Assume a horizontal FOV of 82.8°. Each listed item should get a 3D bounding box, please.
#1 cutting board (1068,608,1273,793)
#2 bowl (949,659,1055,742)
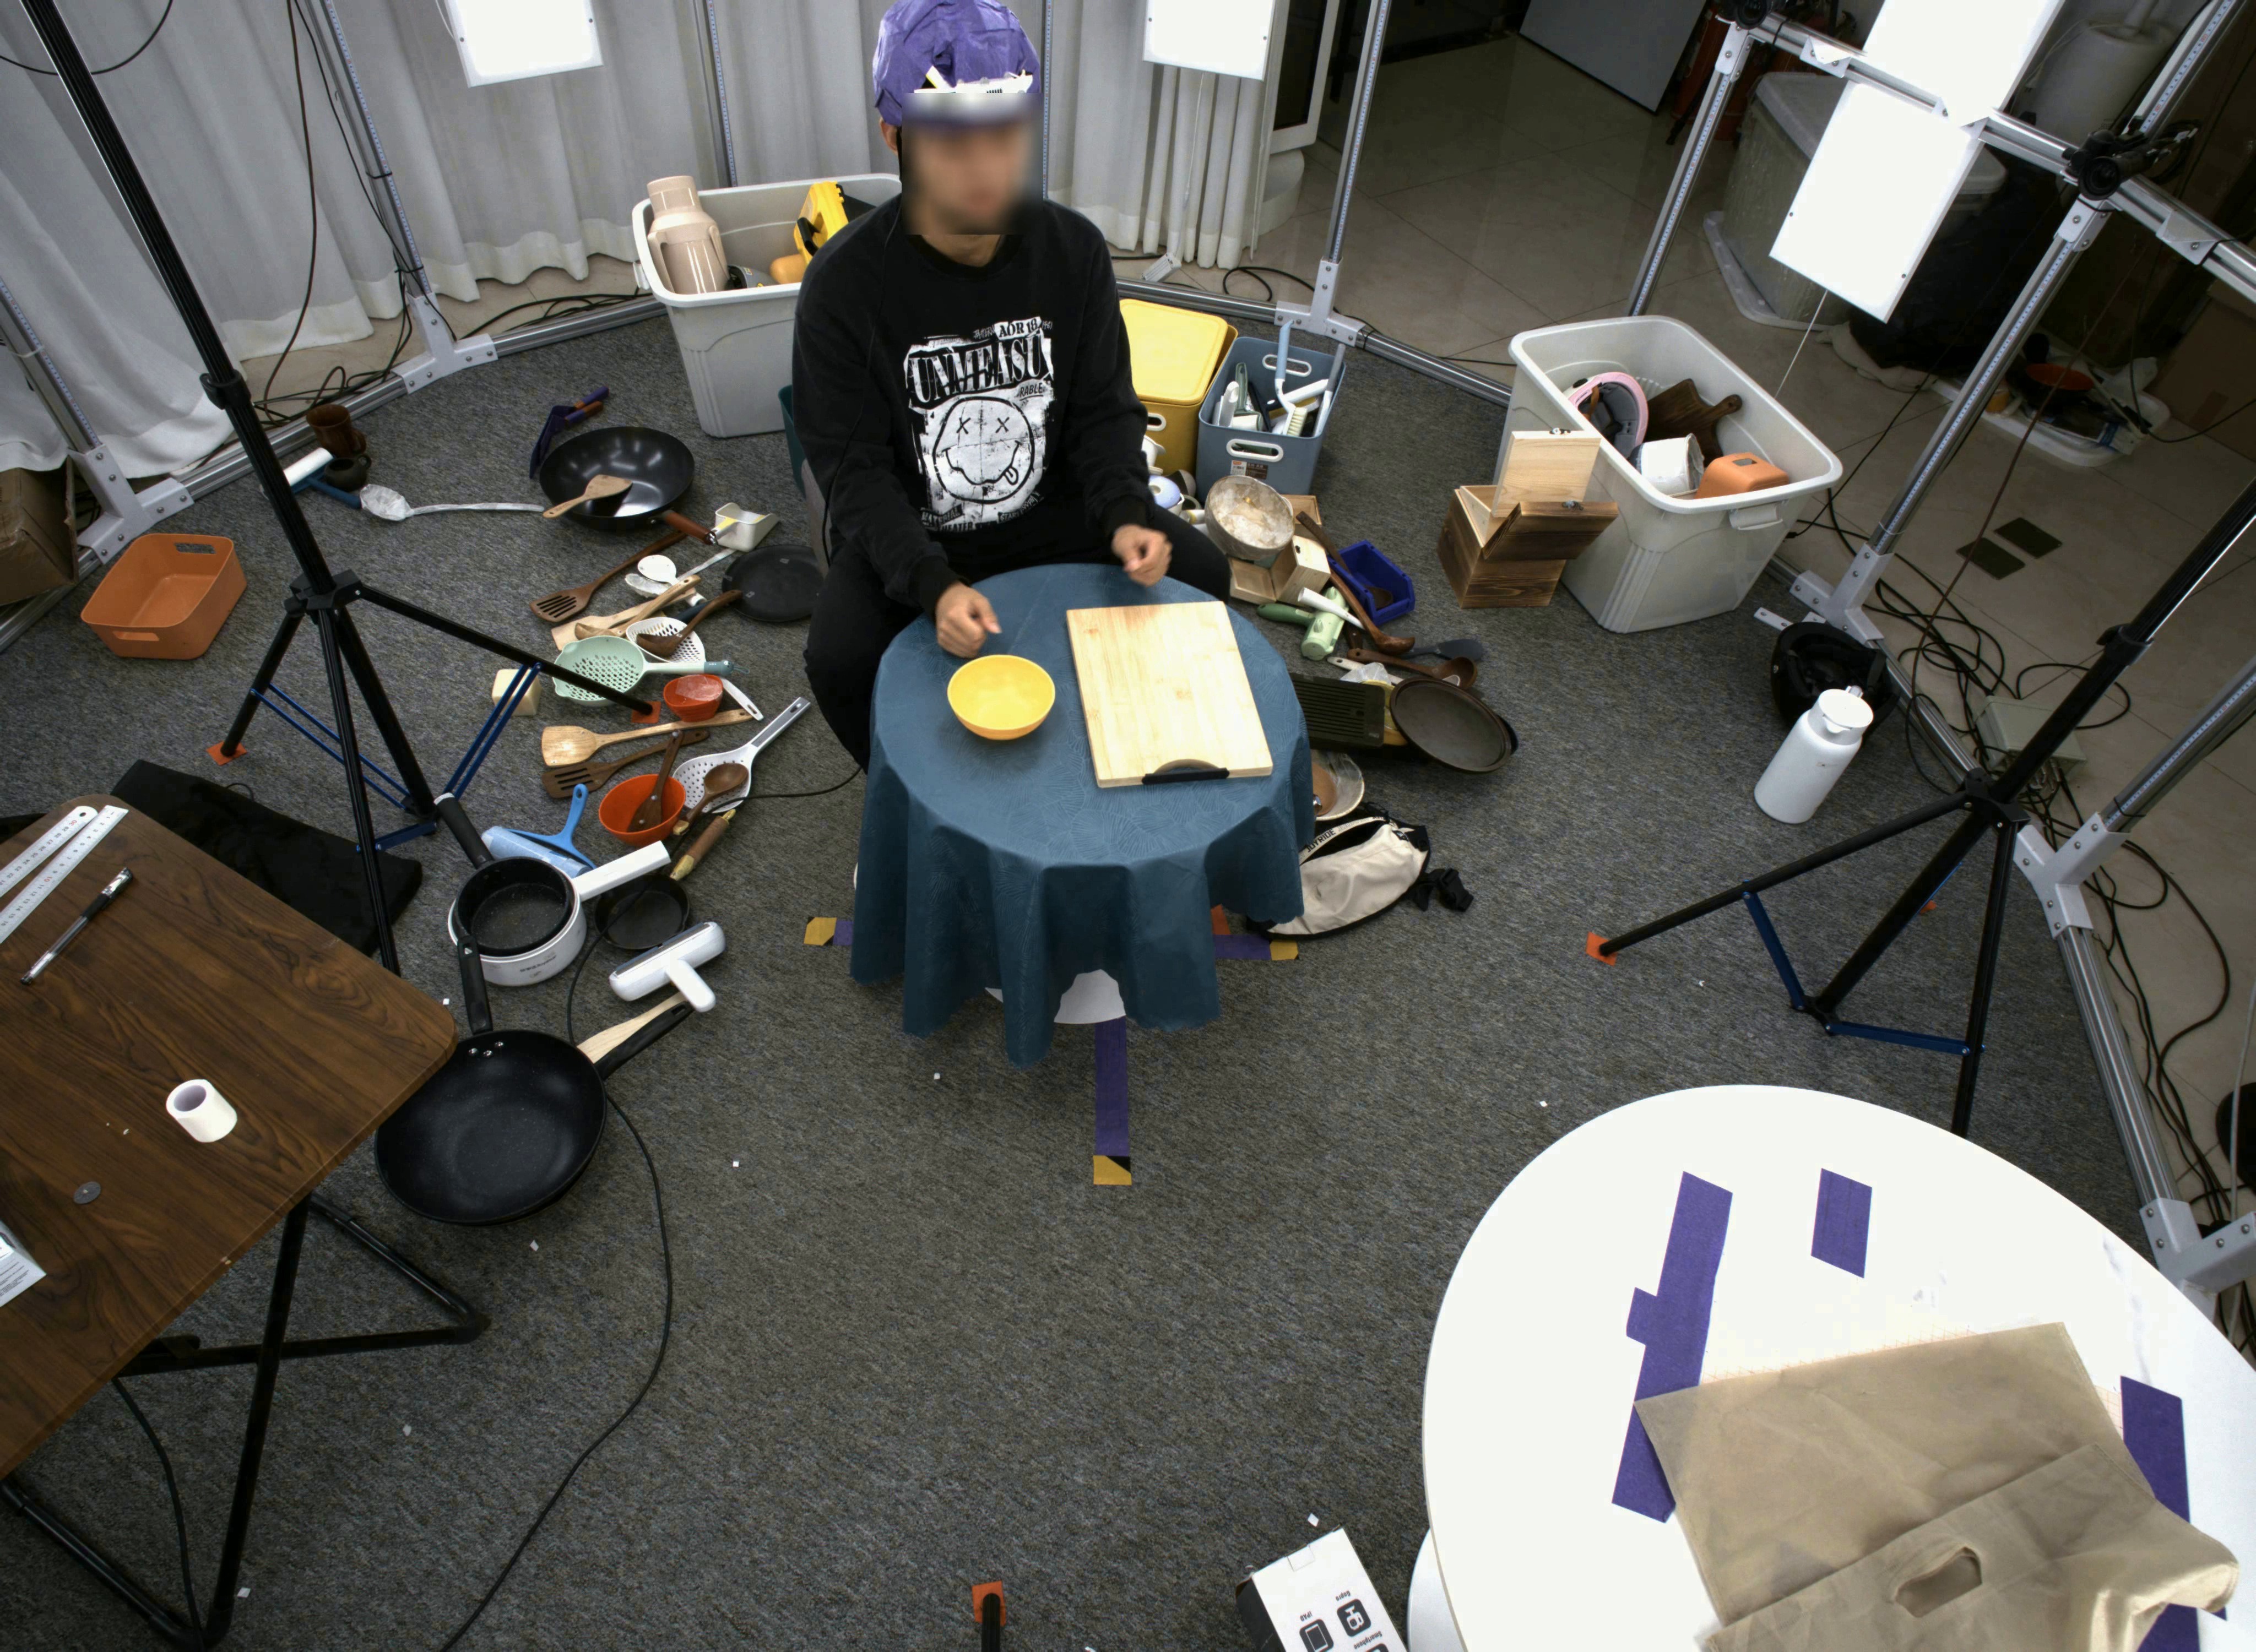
[{"bbox_3d":[0.053,-0.190,1.843,0.250,0.023,0.357,-6,49,-8],"label":"cutting board"},{"bbox_3d":[-0.174,-0.162,1.778,0.145,0.058,0.149,4,47,-4],"label":"bowl"}]
